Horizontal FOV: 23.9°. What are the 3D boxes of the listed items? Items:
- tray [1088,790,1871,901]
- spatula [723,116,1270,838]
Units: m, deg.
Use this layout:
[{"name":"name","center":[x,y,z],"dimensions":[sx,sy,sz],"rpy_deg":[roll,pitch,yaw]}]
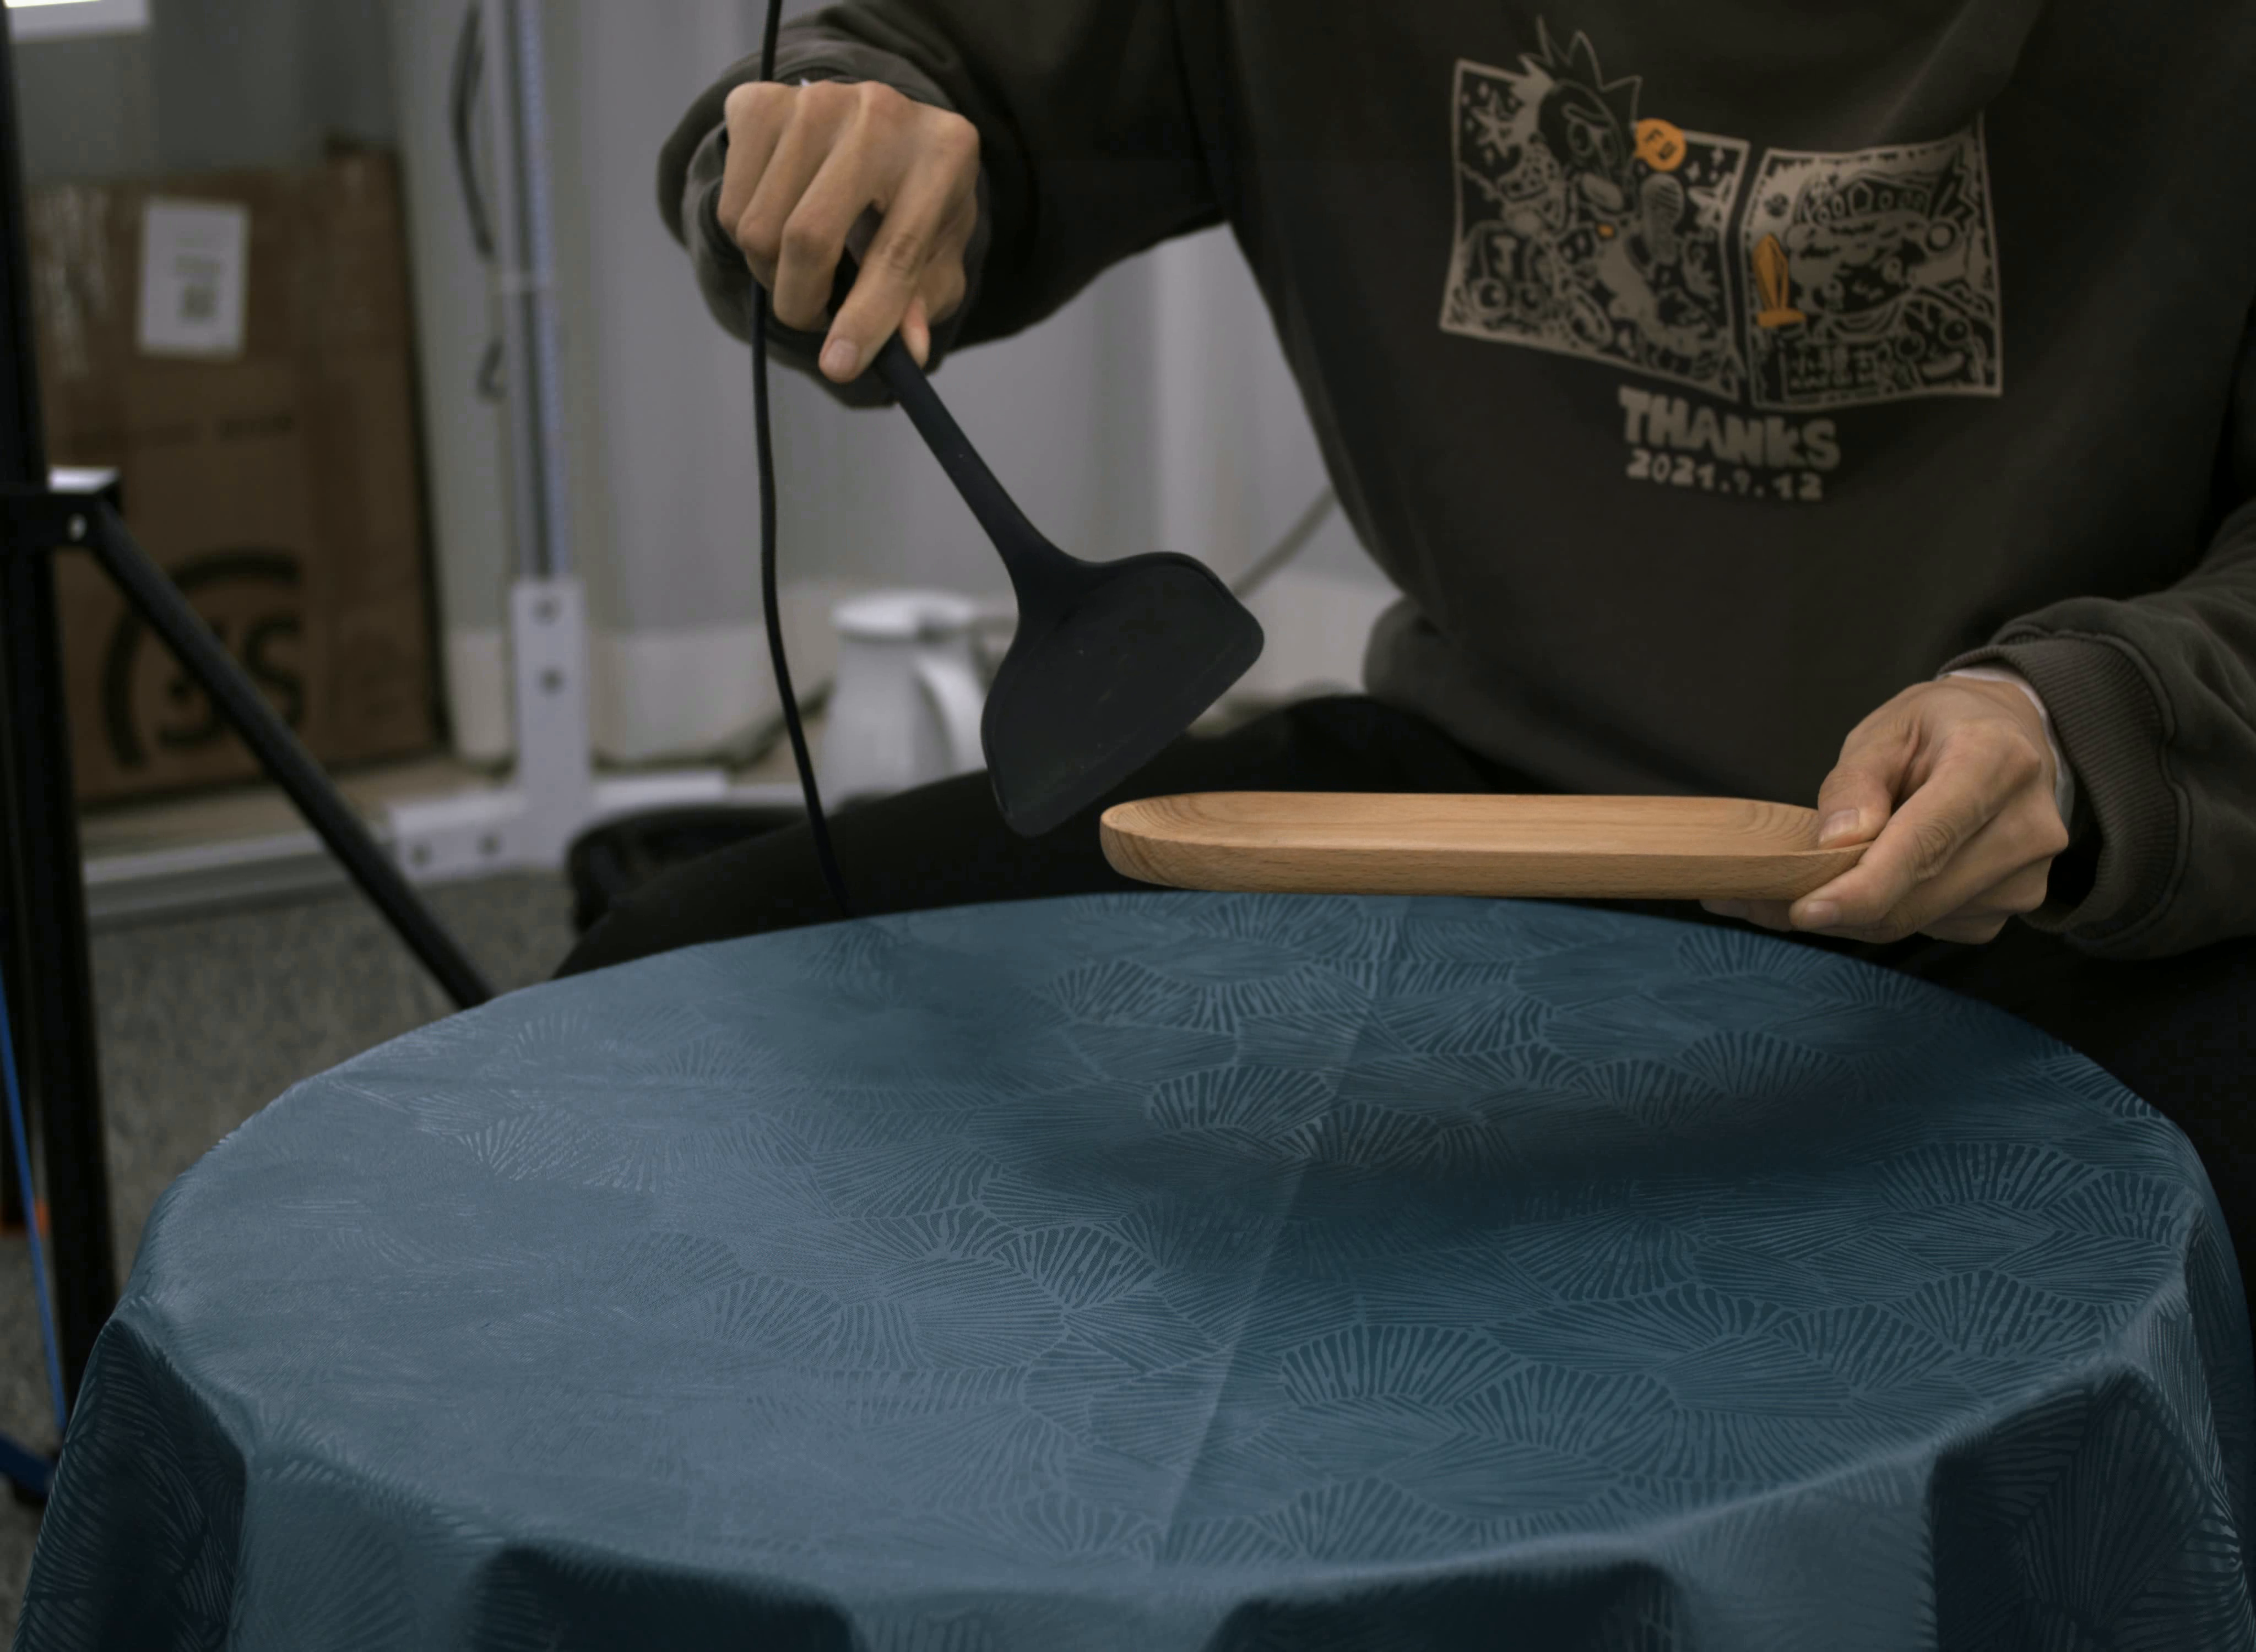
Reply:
[{"name":"tray","center":[0.103,0.006,1.556],"dimensions":[0.229,0.020,0.102],"rpy_deg":[0,9,-3]},{"name":"spatula","center":[-0.061,-0.127,1.690],"dimensions":[0.100,0.039,0.333],"rpy_deg":[-39,56,6]}]
